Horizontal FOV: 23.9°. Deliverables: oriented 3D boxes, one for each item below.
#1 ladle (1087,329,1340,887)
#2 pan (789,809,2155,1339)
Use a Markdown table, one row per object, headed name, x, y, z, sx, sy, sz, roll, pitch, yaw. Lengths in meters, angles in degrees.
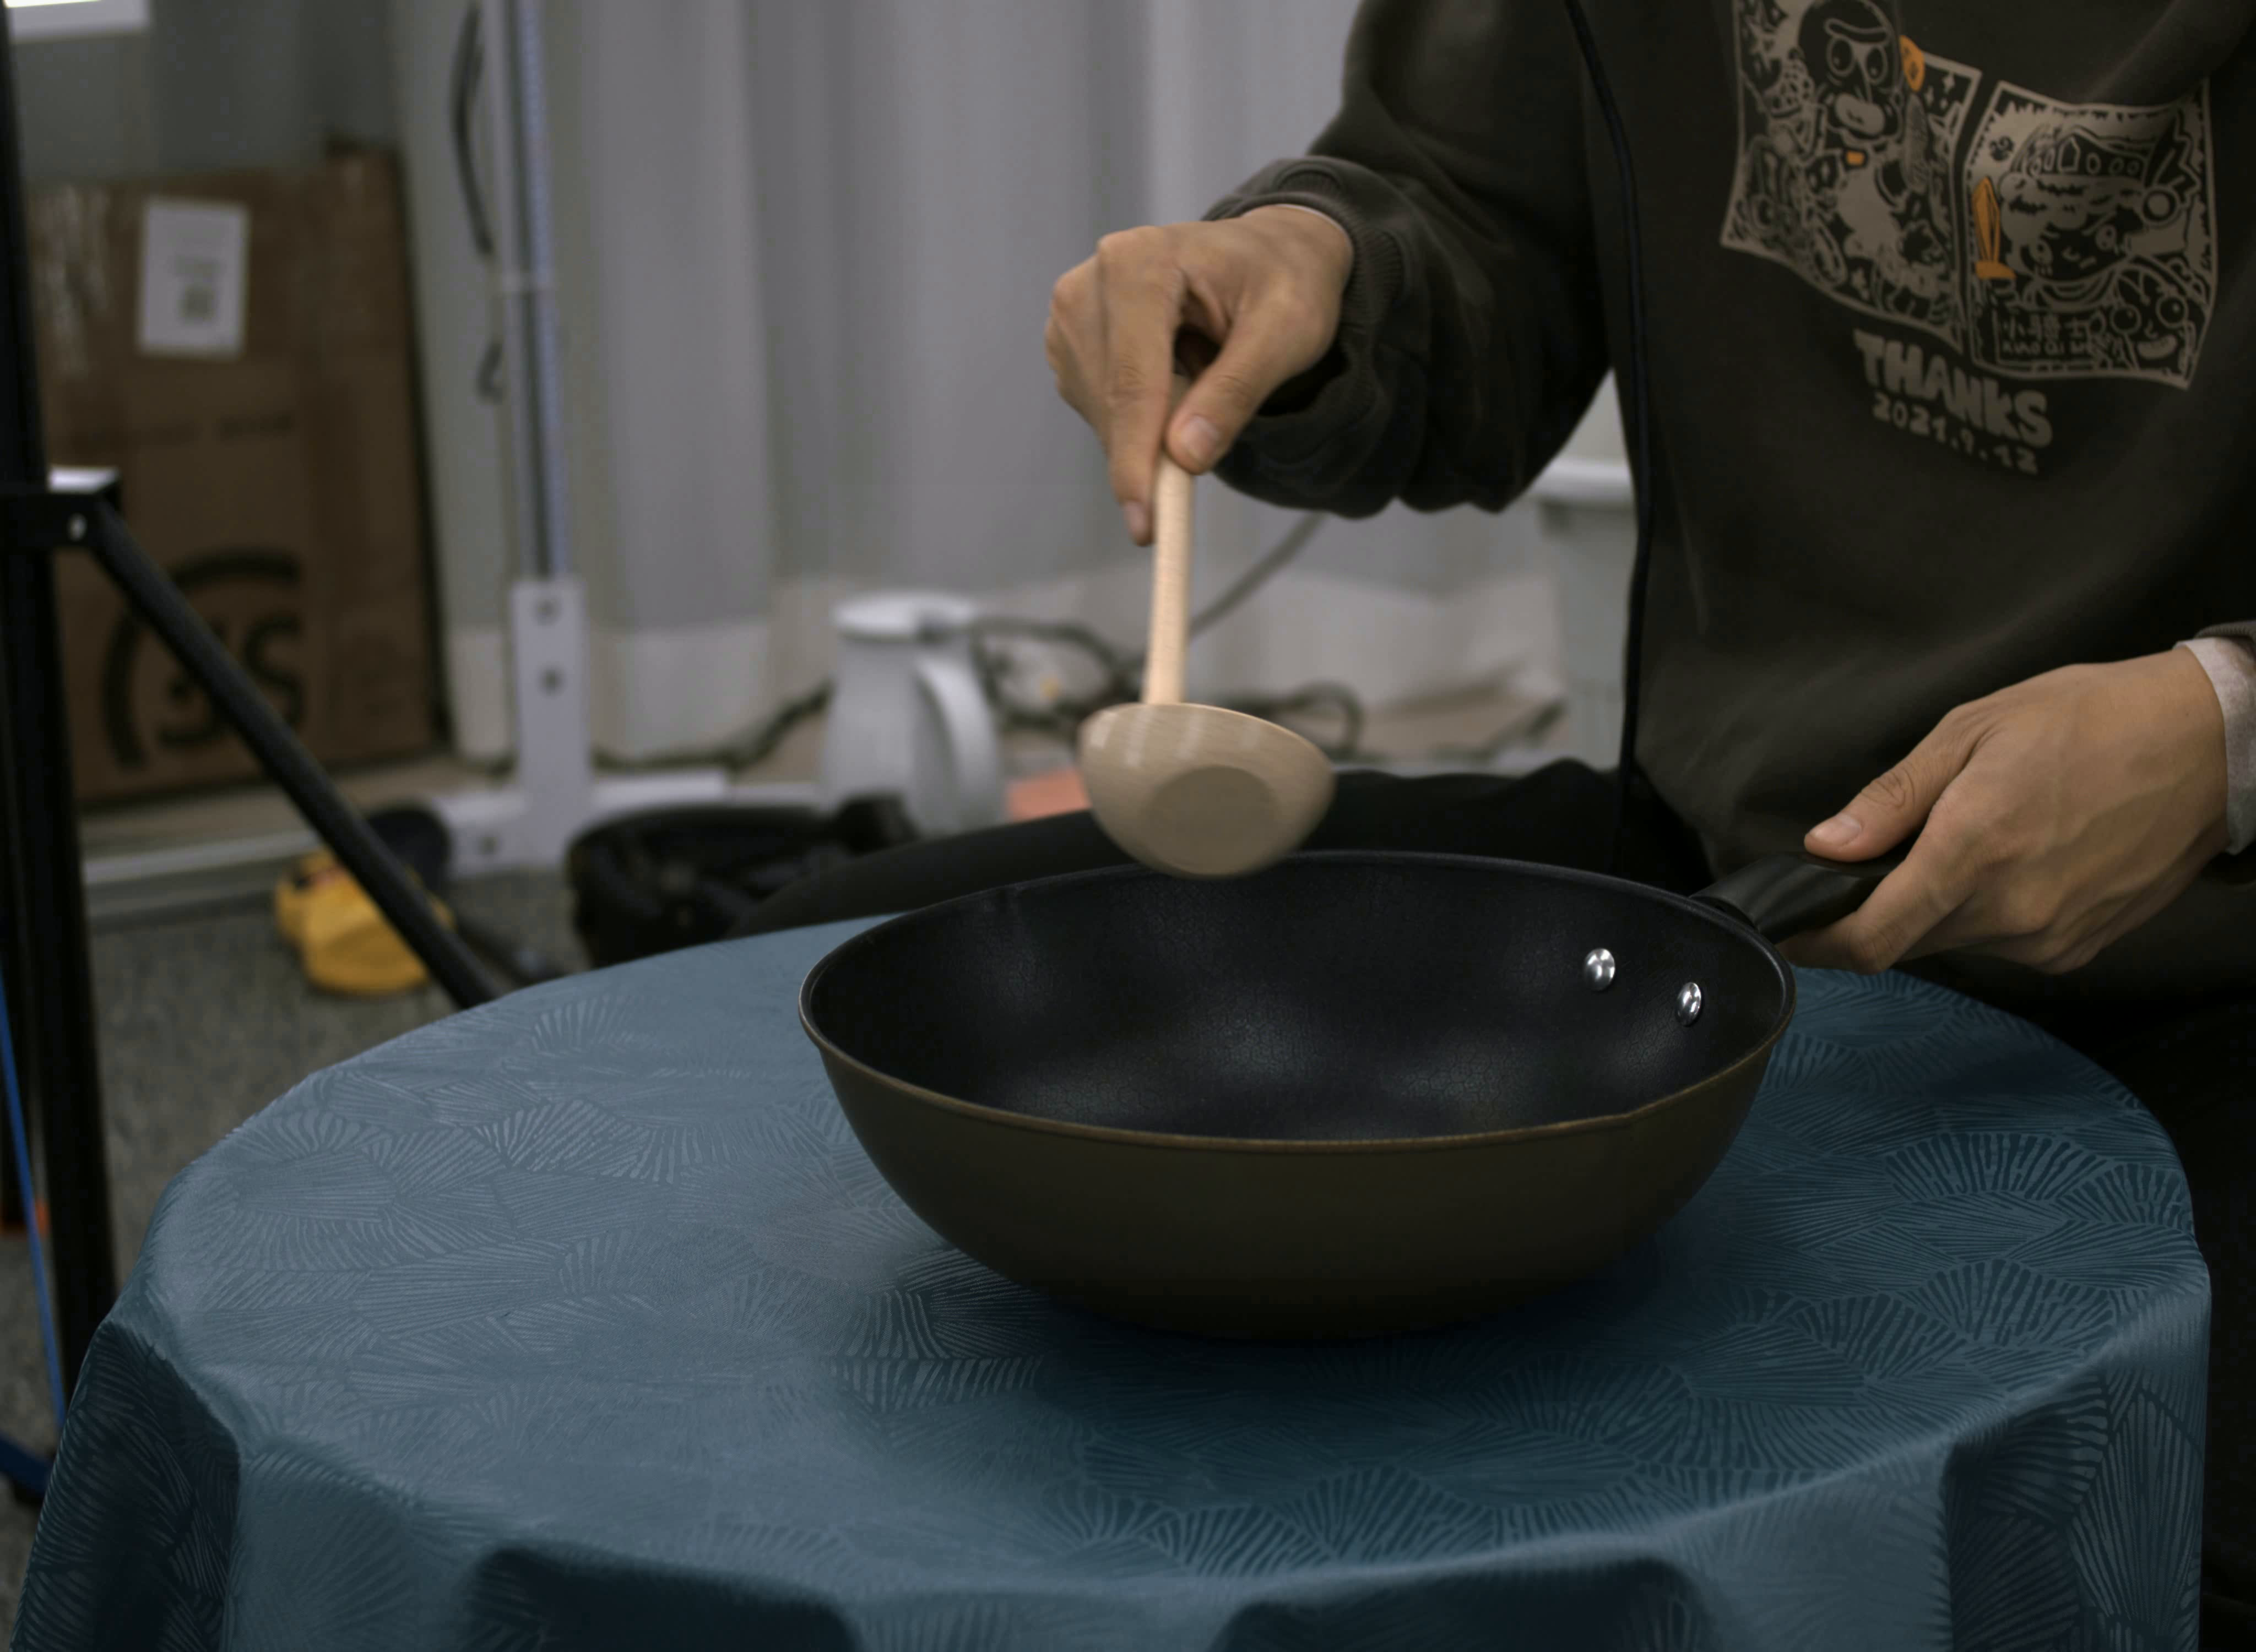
| name | x | y | z | sx | sy | sz | roll | pitch | yaw |
| --- | --- | --- | --- | --- | --- | --- | --- | --- | --- |
| ladle | 0.022 | -0.087 | 1.576 | 0.071 | 0.073 | 0.257 | 13 | 44 | -14 |
| pan | 0.120 | 0.066 | 1.542 | 0.452 | 0.087 | 0.294 | -10 | 17 | -32 |
